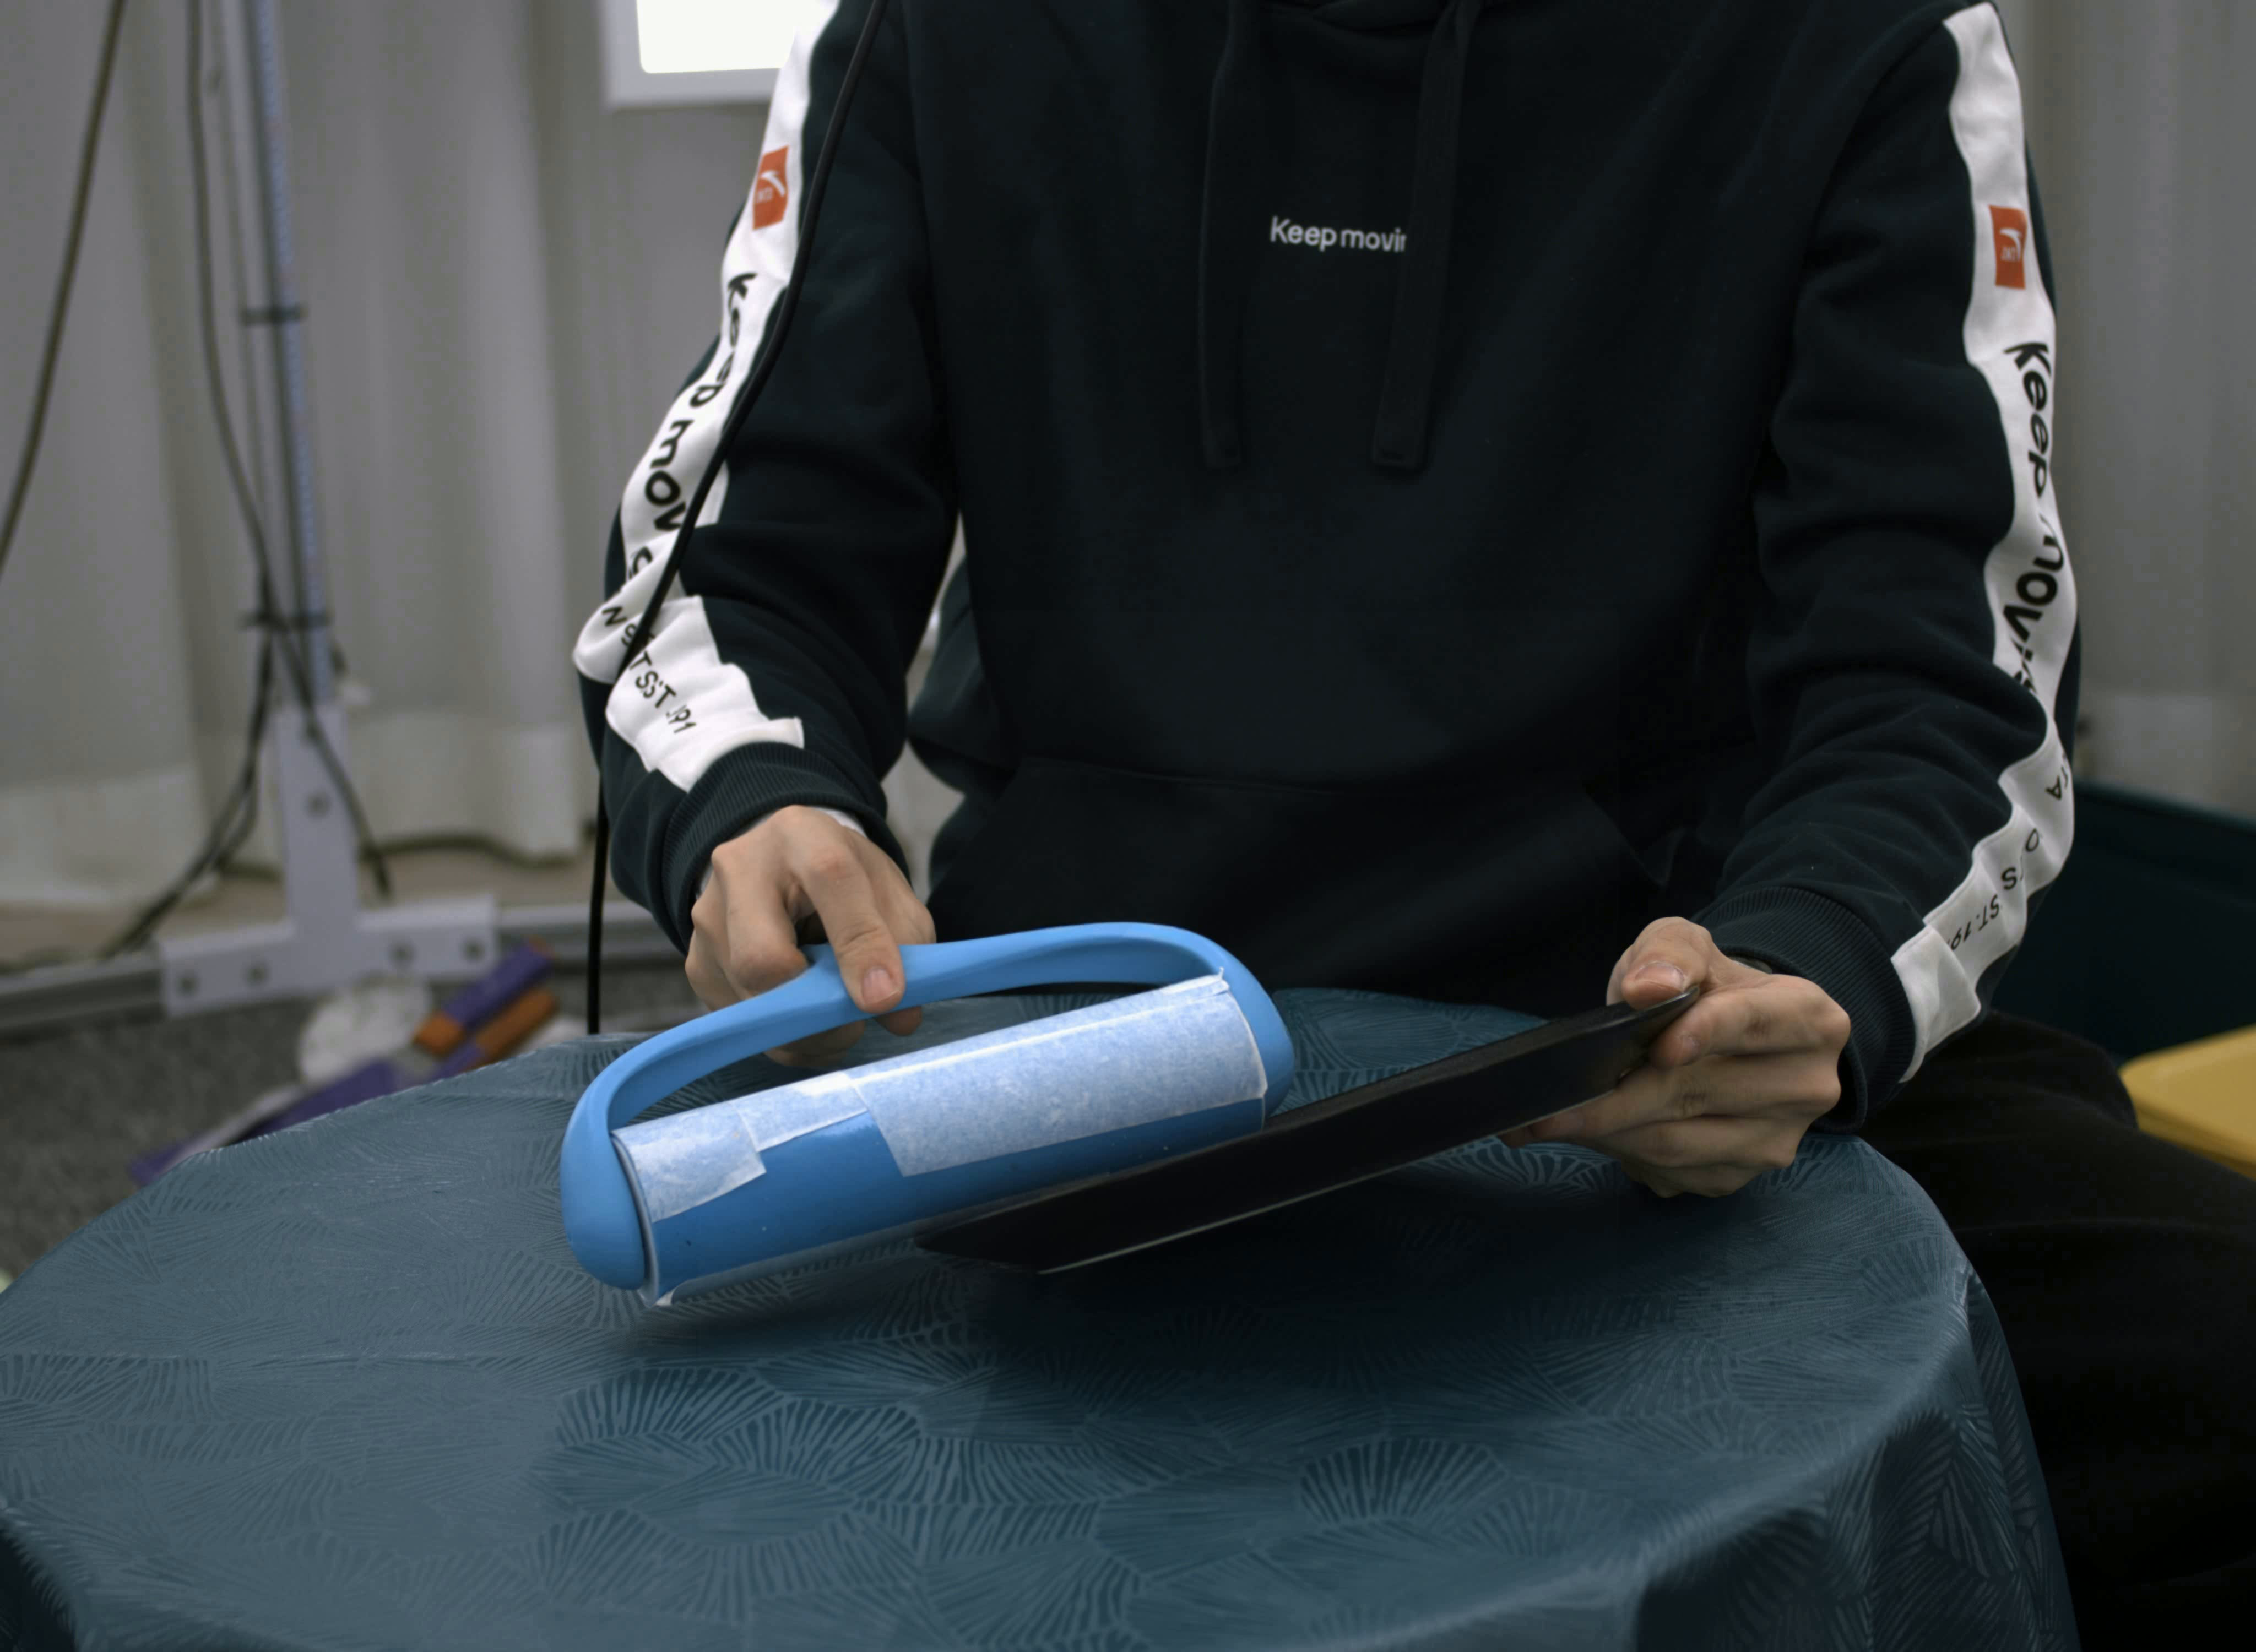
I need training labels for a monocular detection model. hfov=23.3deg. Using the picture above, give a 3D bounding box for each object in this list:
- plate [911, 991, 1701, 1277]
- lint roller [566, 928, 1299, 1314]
[{"bbox_3d":[0.055,0.094,1.606,0.244,0.023,0.244,-18,-2,-1],"label":"plate"},{"bbox_3d":[-0.080,0.072,1.672,0.228,0.067,0.182,-17,27,-19],"label":"lint roller"}]
